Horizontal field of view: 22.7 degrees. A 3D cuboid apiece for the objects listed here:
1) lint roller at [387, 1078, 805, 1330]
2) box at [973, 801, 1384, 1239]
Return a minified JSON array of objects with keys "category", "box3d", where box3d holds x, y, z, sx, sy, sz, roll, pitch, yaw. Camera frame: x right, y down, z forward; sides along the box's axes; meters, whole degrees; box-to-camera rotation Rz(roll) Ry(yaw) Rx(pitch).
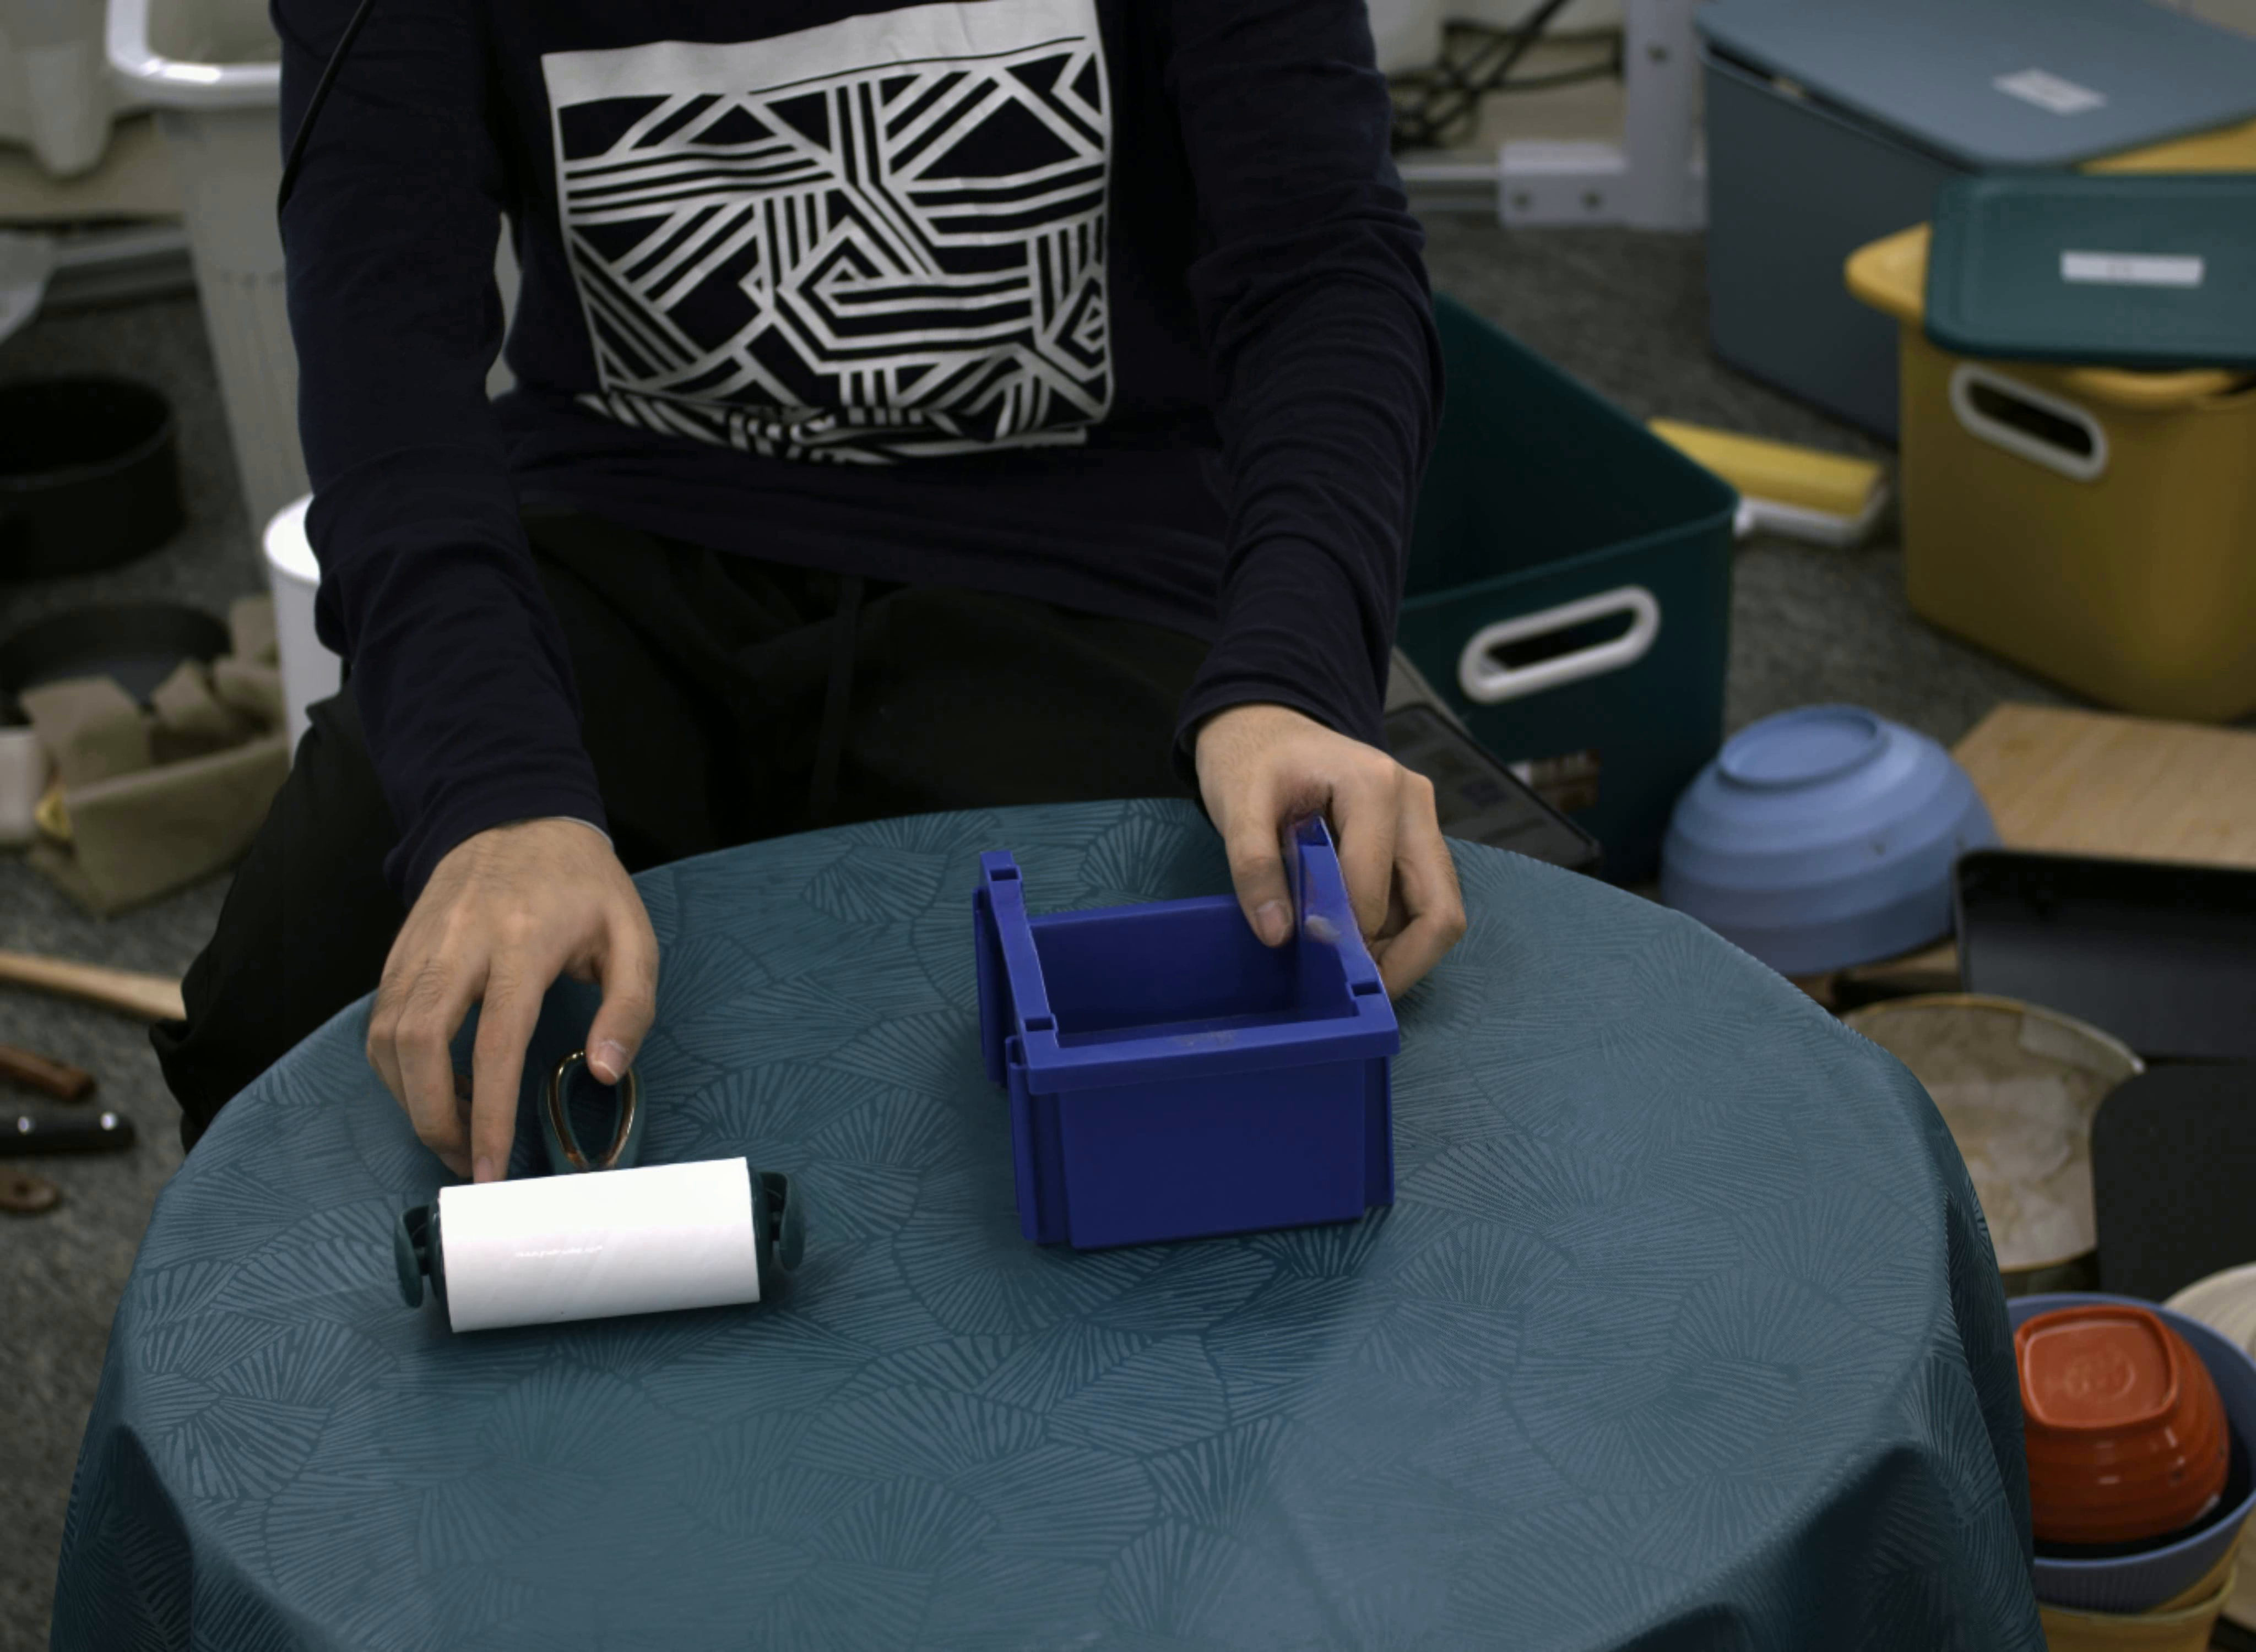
[{"category":"lint roller","box3d":[-0.179,0.107,1.862,0.134,0.048,0.182,-5,24,-6]},{"category":"box","box3d":[0.014,0.060,1.892,0.124,0.081,0.182,-6,30,-4]}]
